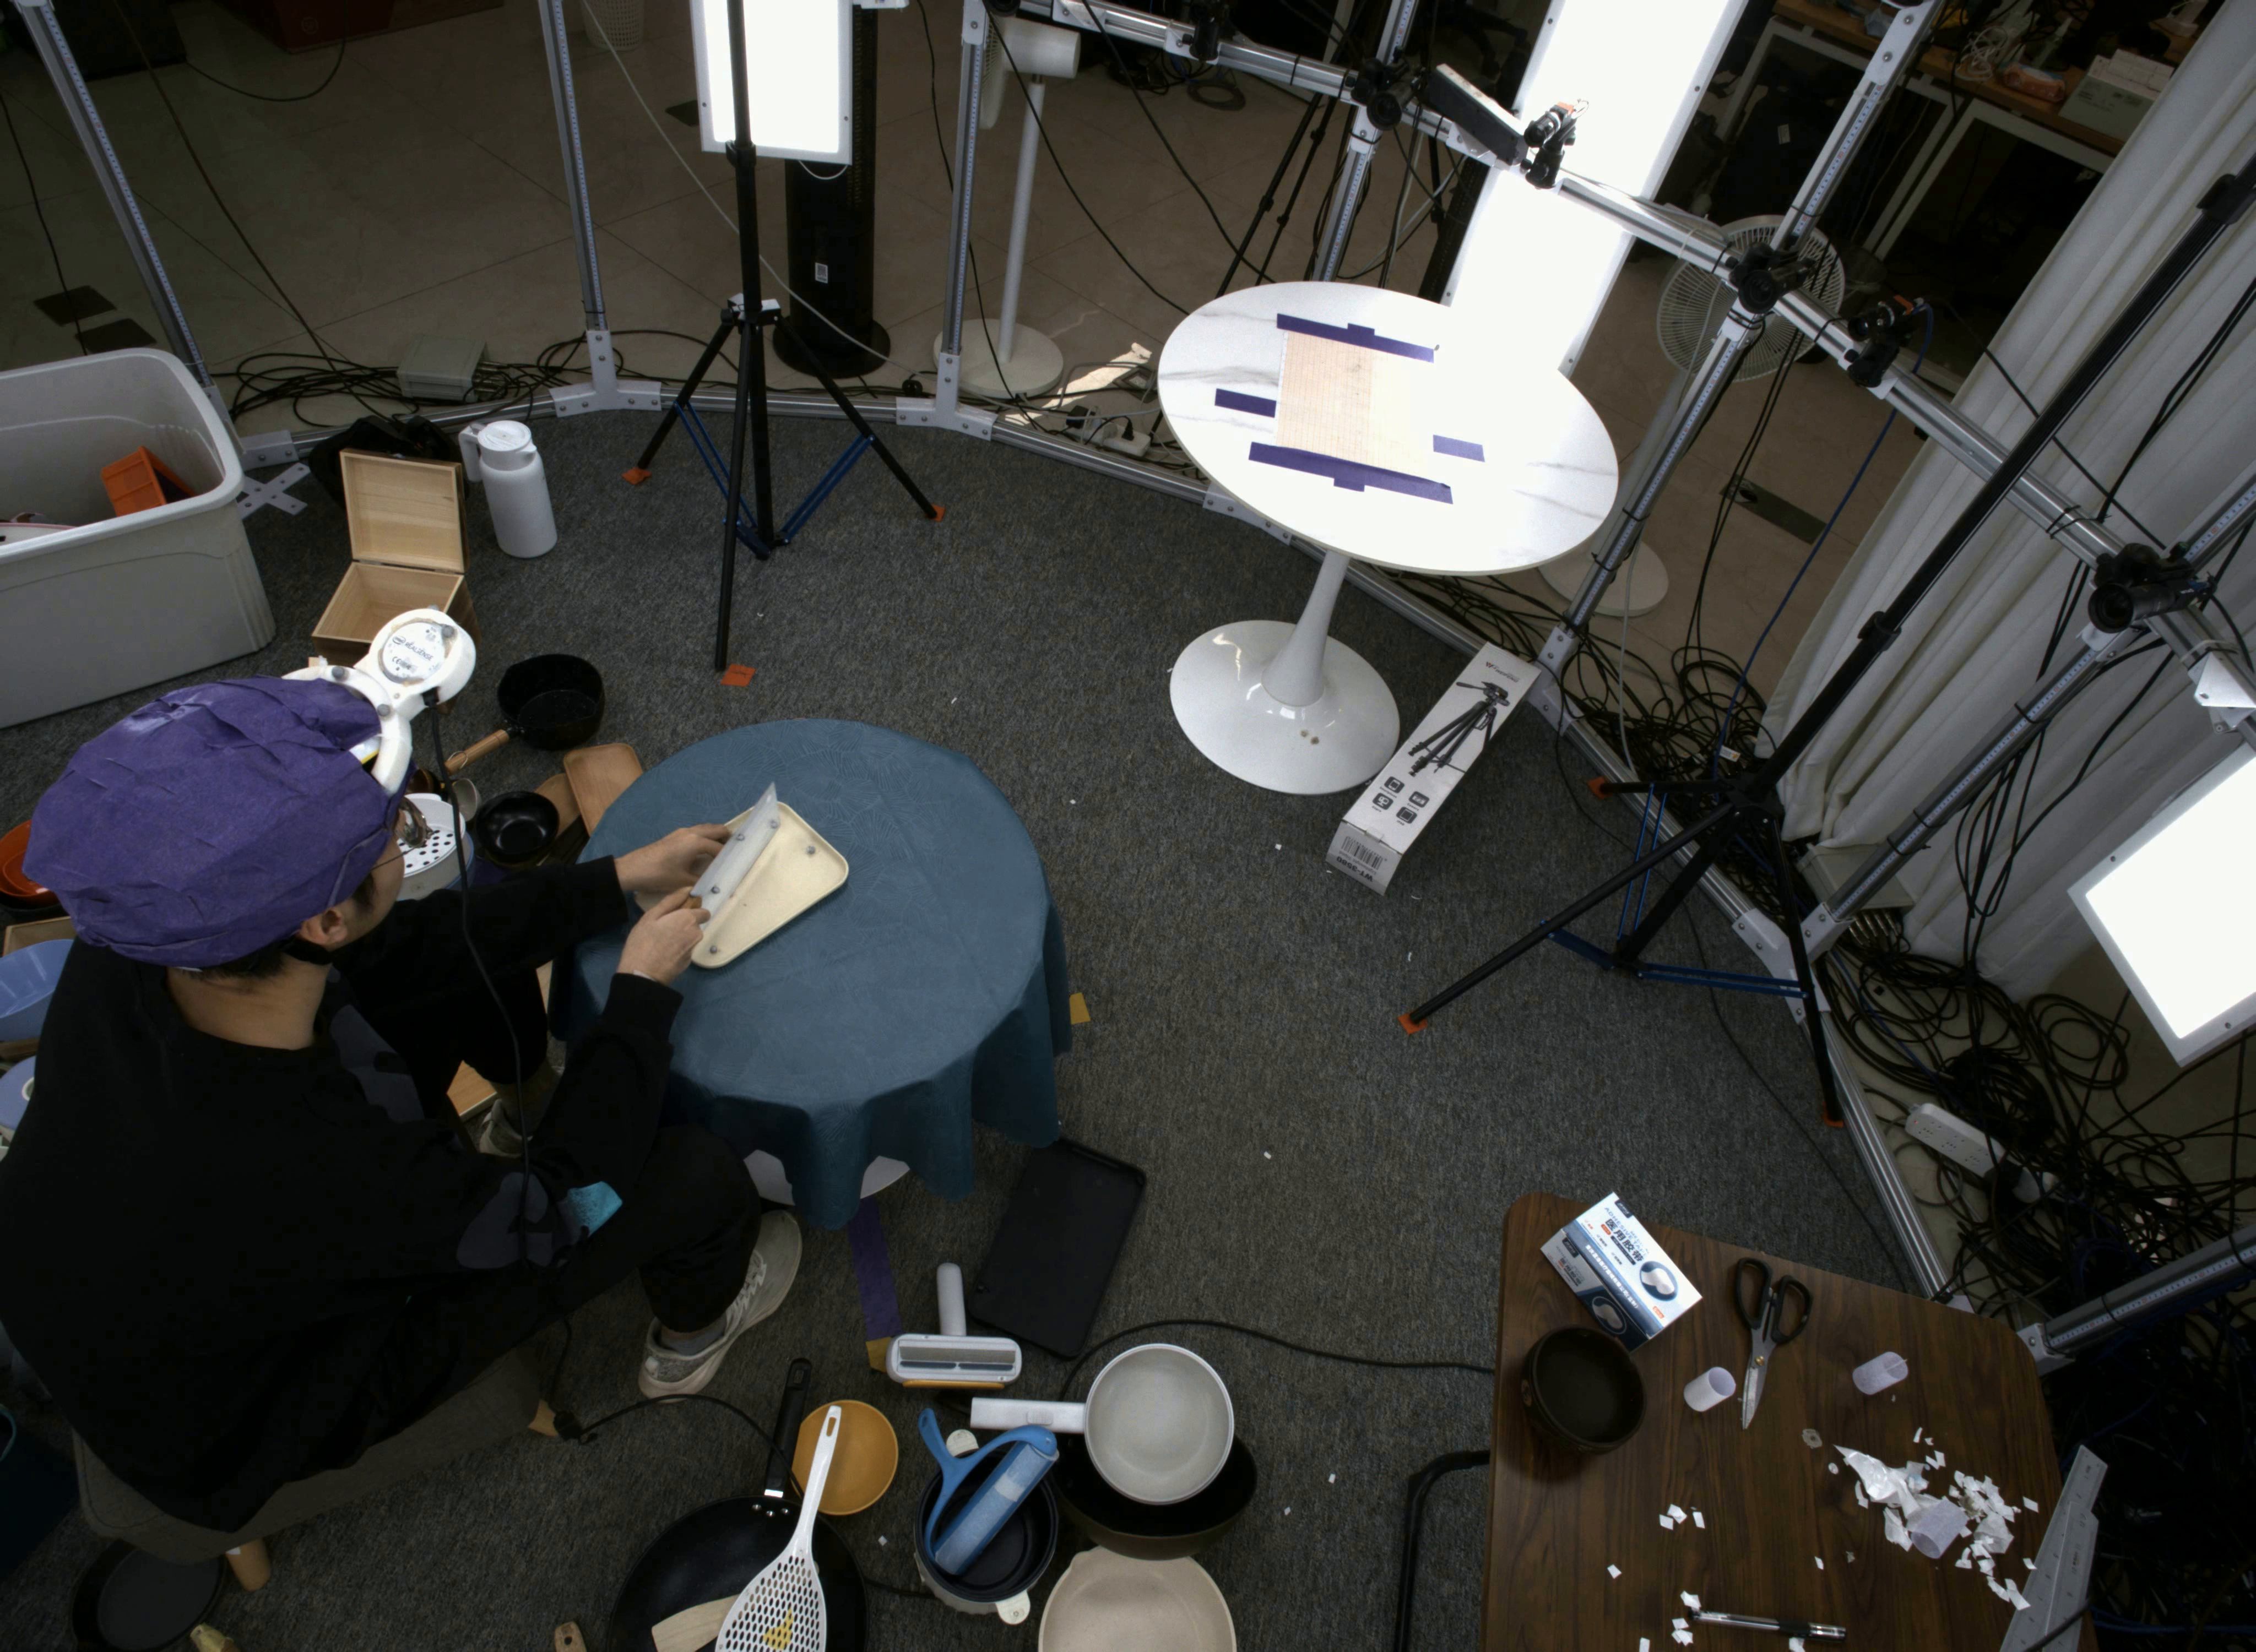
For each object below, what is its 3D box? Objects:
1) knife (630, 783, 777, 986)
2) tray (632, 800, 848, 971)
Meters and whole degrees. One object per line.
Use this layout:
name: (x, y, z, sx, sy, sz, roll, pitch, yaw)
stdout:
knife: (-0.499, 0.077, 1.543, 0.020, 0.095, 0.303, 19, 51, 8)
tray: (-0.488, 0.071, 1.631, 0.168, 0.018, 0.240, 42, 54, 15)
